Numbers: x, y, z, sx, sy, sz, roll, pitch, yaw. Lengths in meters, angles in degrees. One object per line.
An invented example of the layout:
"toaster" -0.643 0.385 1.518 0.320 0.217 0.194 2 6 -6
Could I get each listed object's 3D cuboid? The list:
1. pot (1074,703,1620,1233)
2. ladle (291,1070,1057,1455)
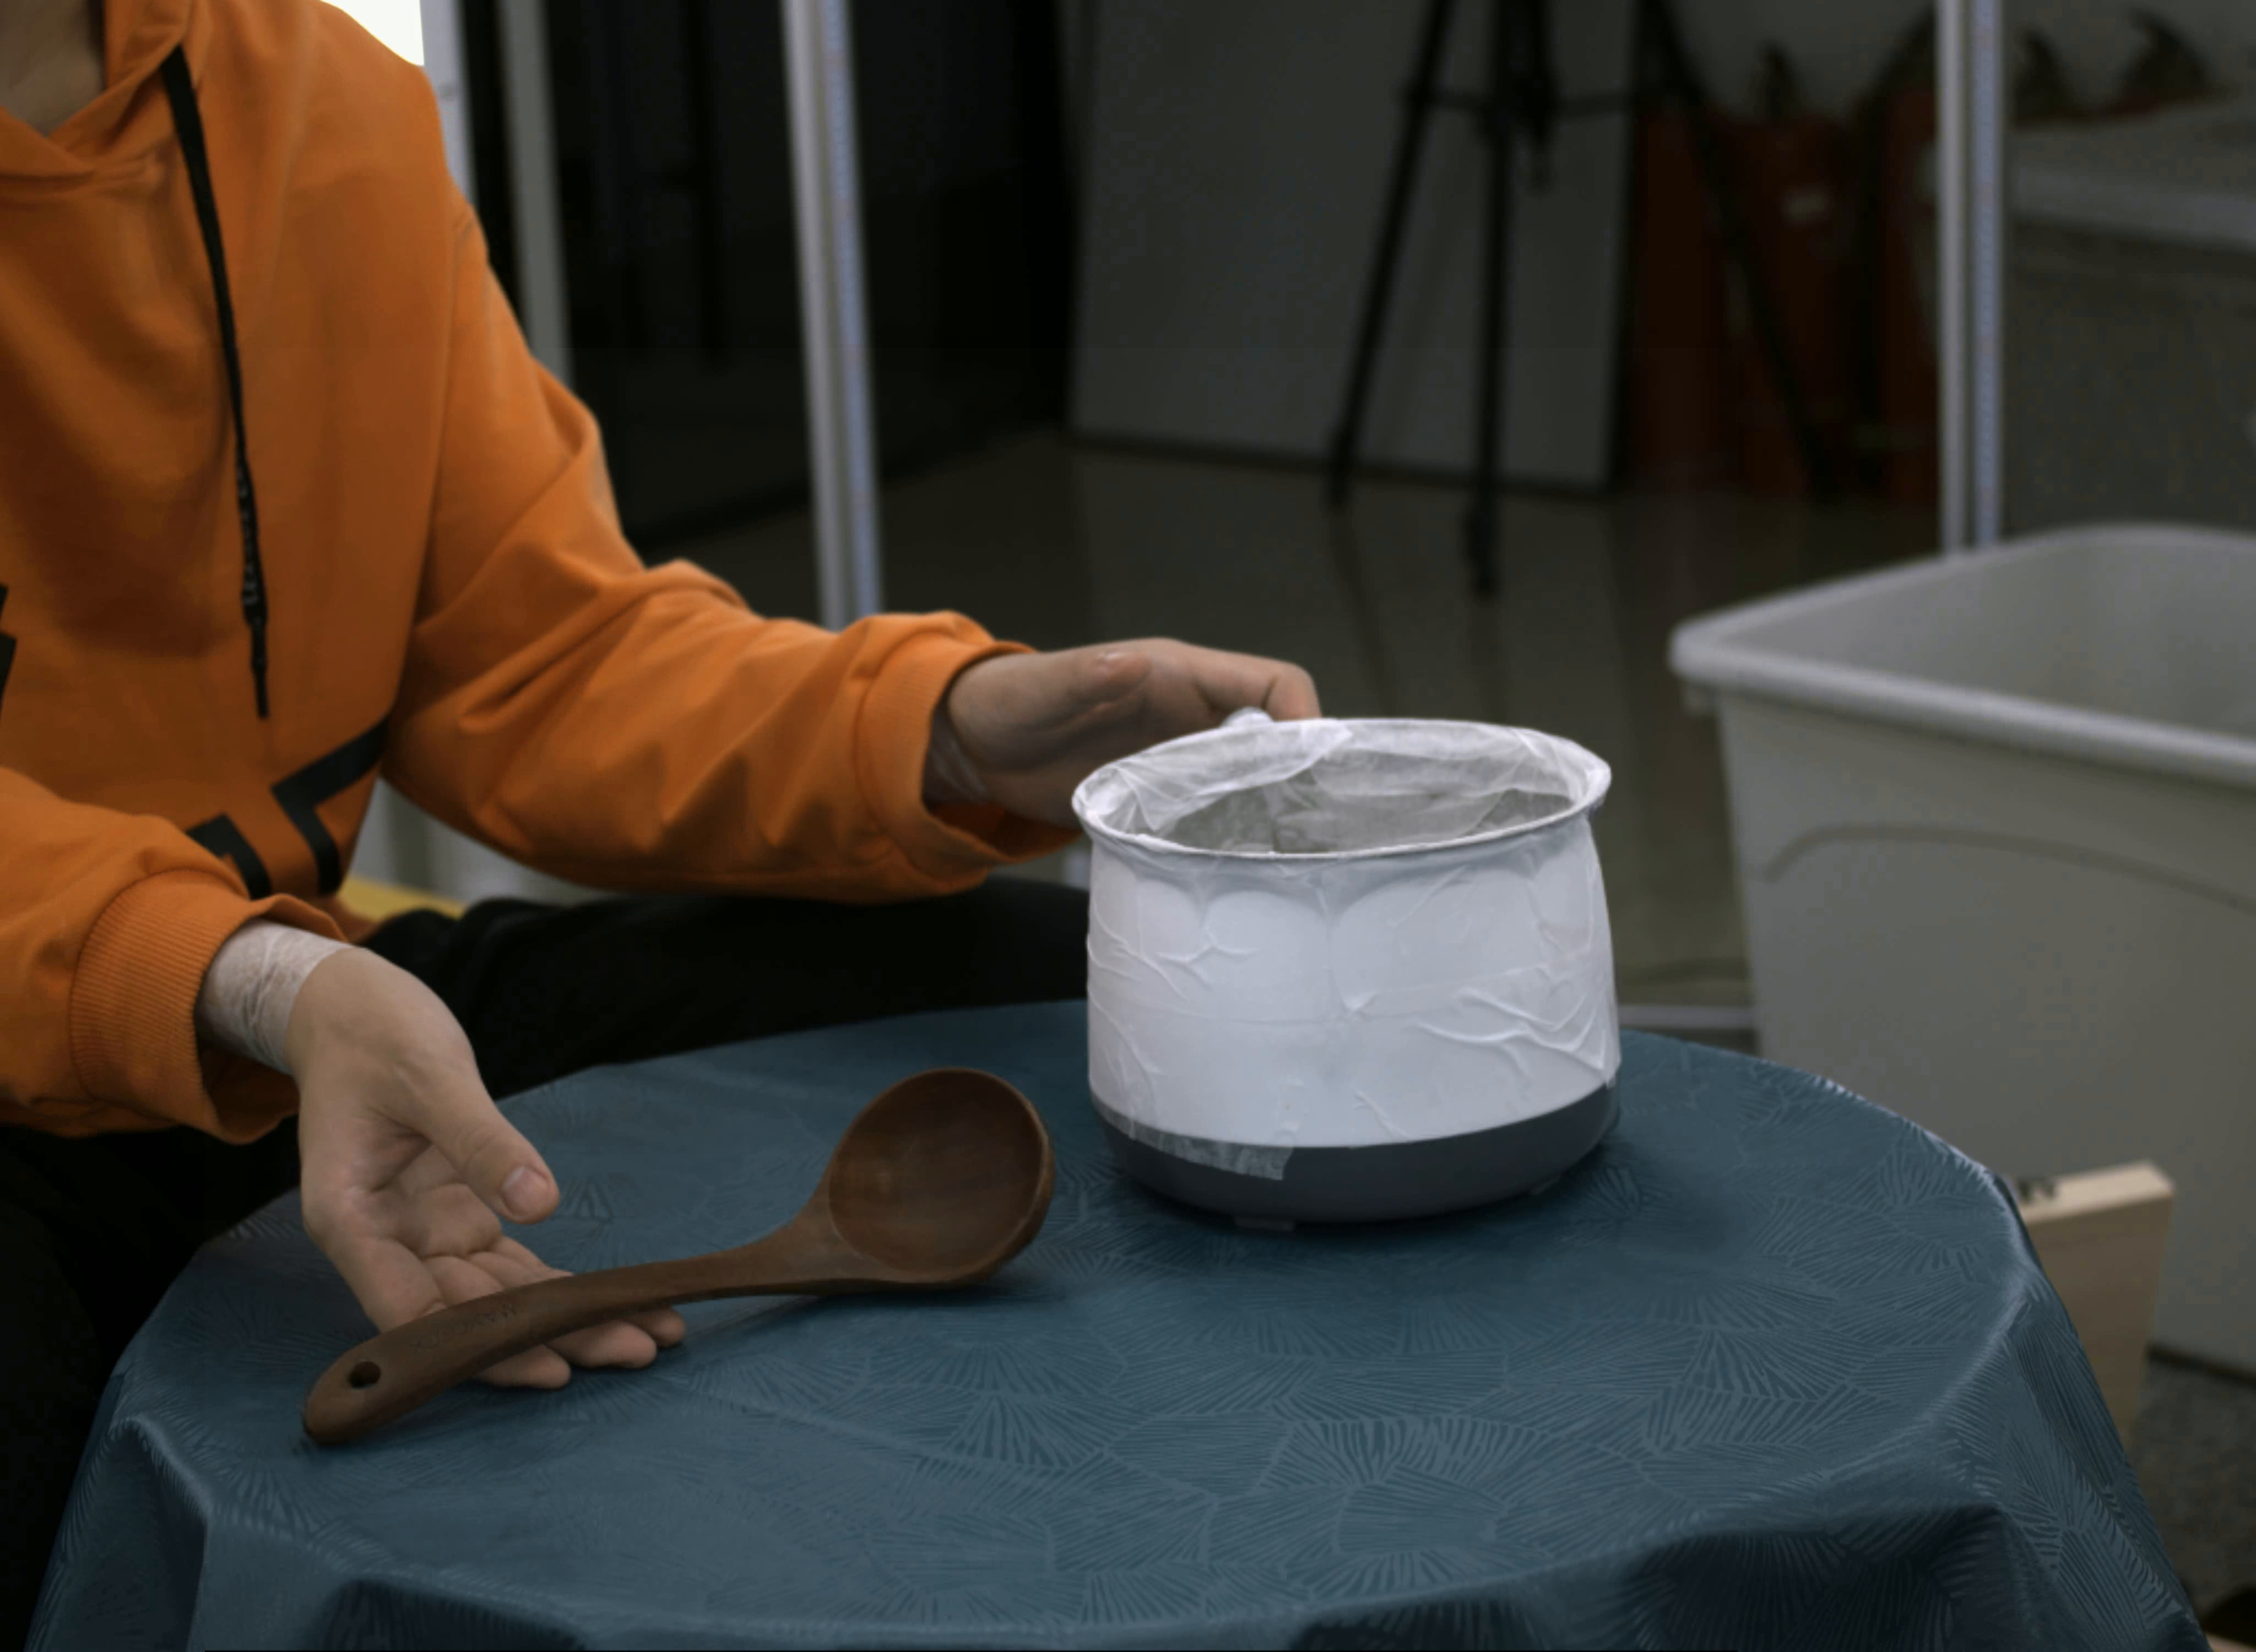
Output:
"pot" 0.064 0.041 1.789 0.175 0.138 0.235 -7 14 -16
"ladle" -0.135 0.132 1.640 0.254 0.066 0.077 -13 42 -34
